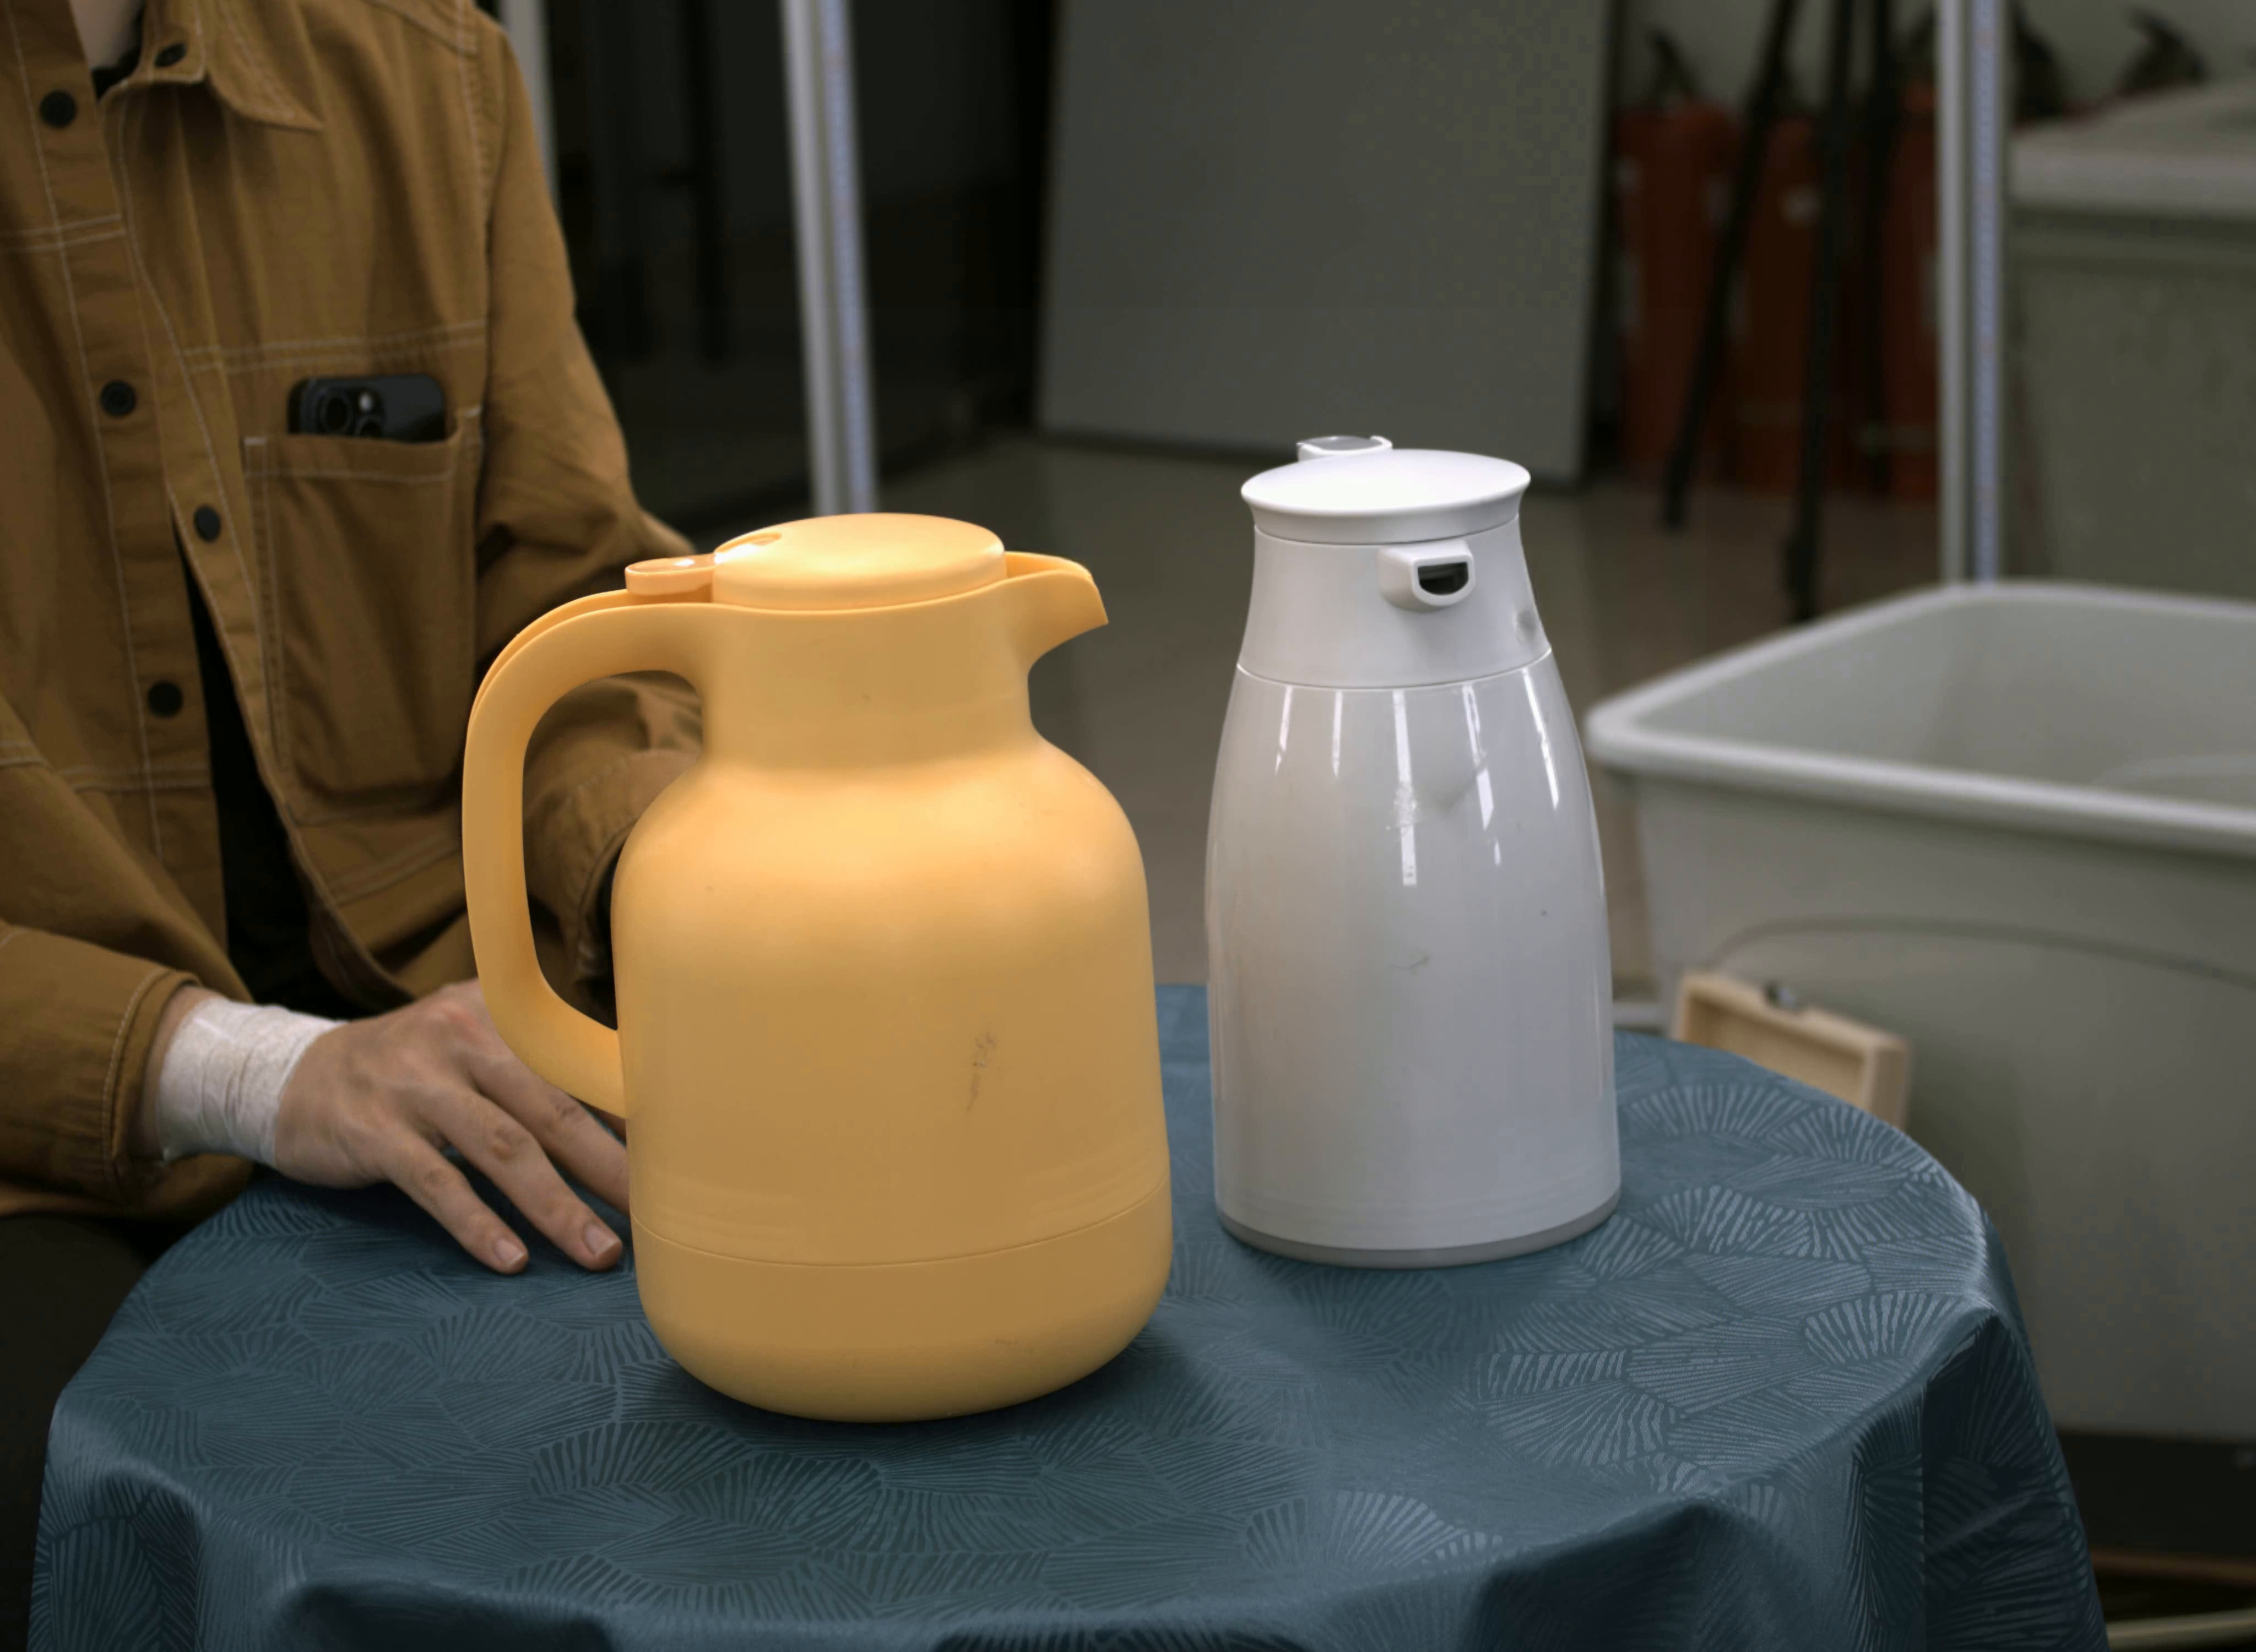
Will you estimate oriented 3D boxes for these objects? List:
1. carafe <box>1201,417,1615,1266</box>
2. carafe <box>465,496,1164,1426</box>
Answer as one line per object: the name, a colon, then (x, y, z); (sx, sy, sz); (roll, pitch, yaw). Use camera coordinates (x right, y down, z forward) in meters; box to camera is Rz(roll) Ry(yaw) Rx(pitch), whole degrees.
carafe: (0.080, -0.003, 1.729); (0.130, 0.251, 0.169); (-7, 13, -12)
carafe: (-0.093, 0.037, 1.599); (0.199, 0.263, 0.164); (-3, 11, -1)
